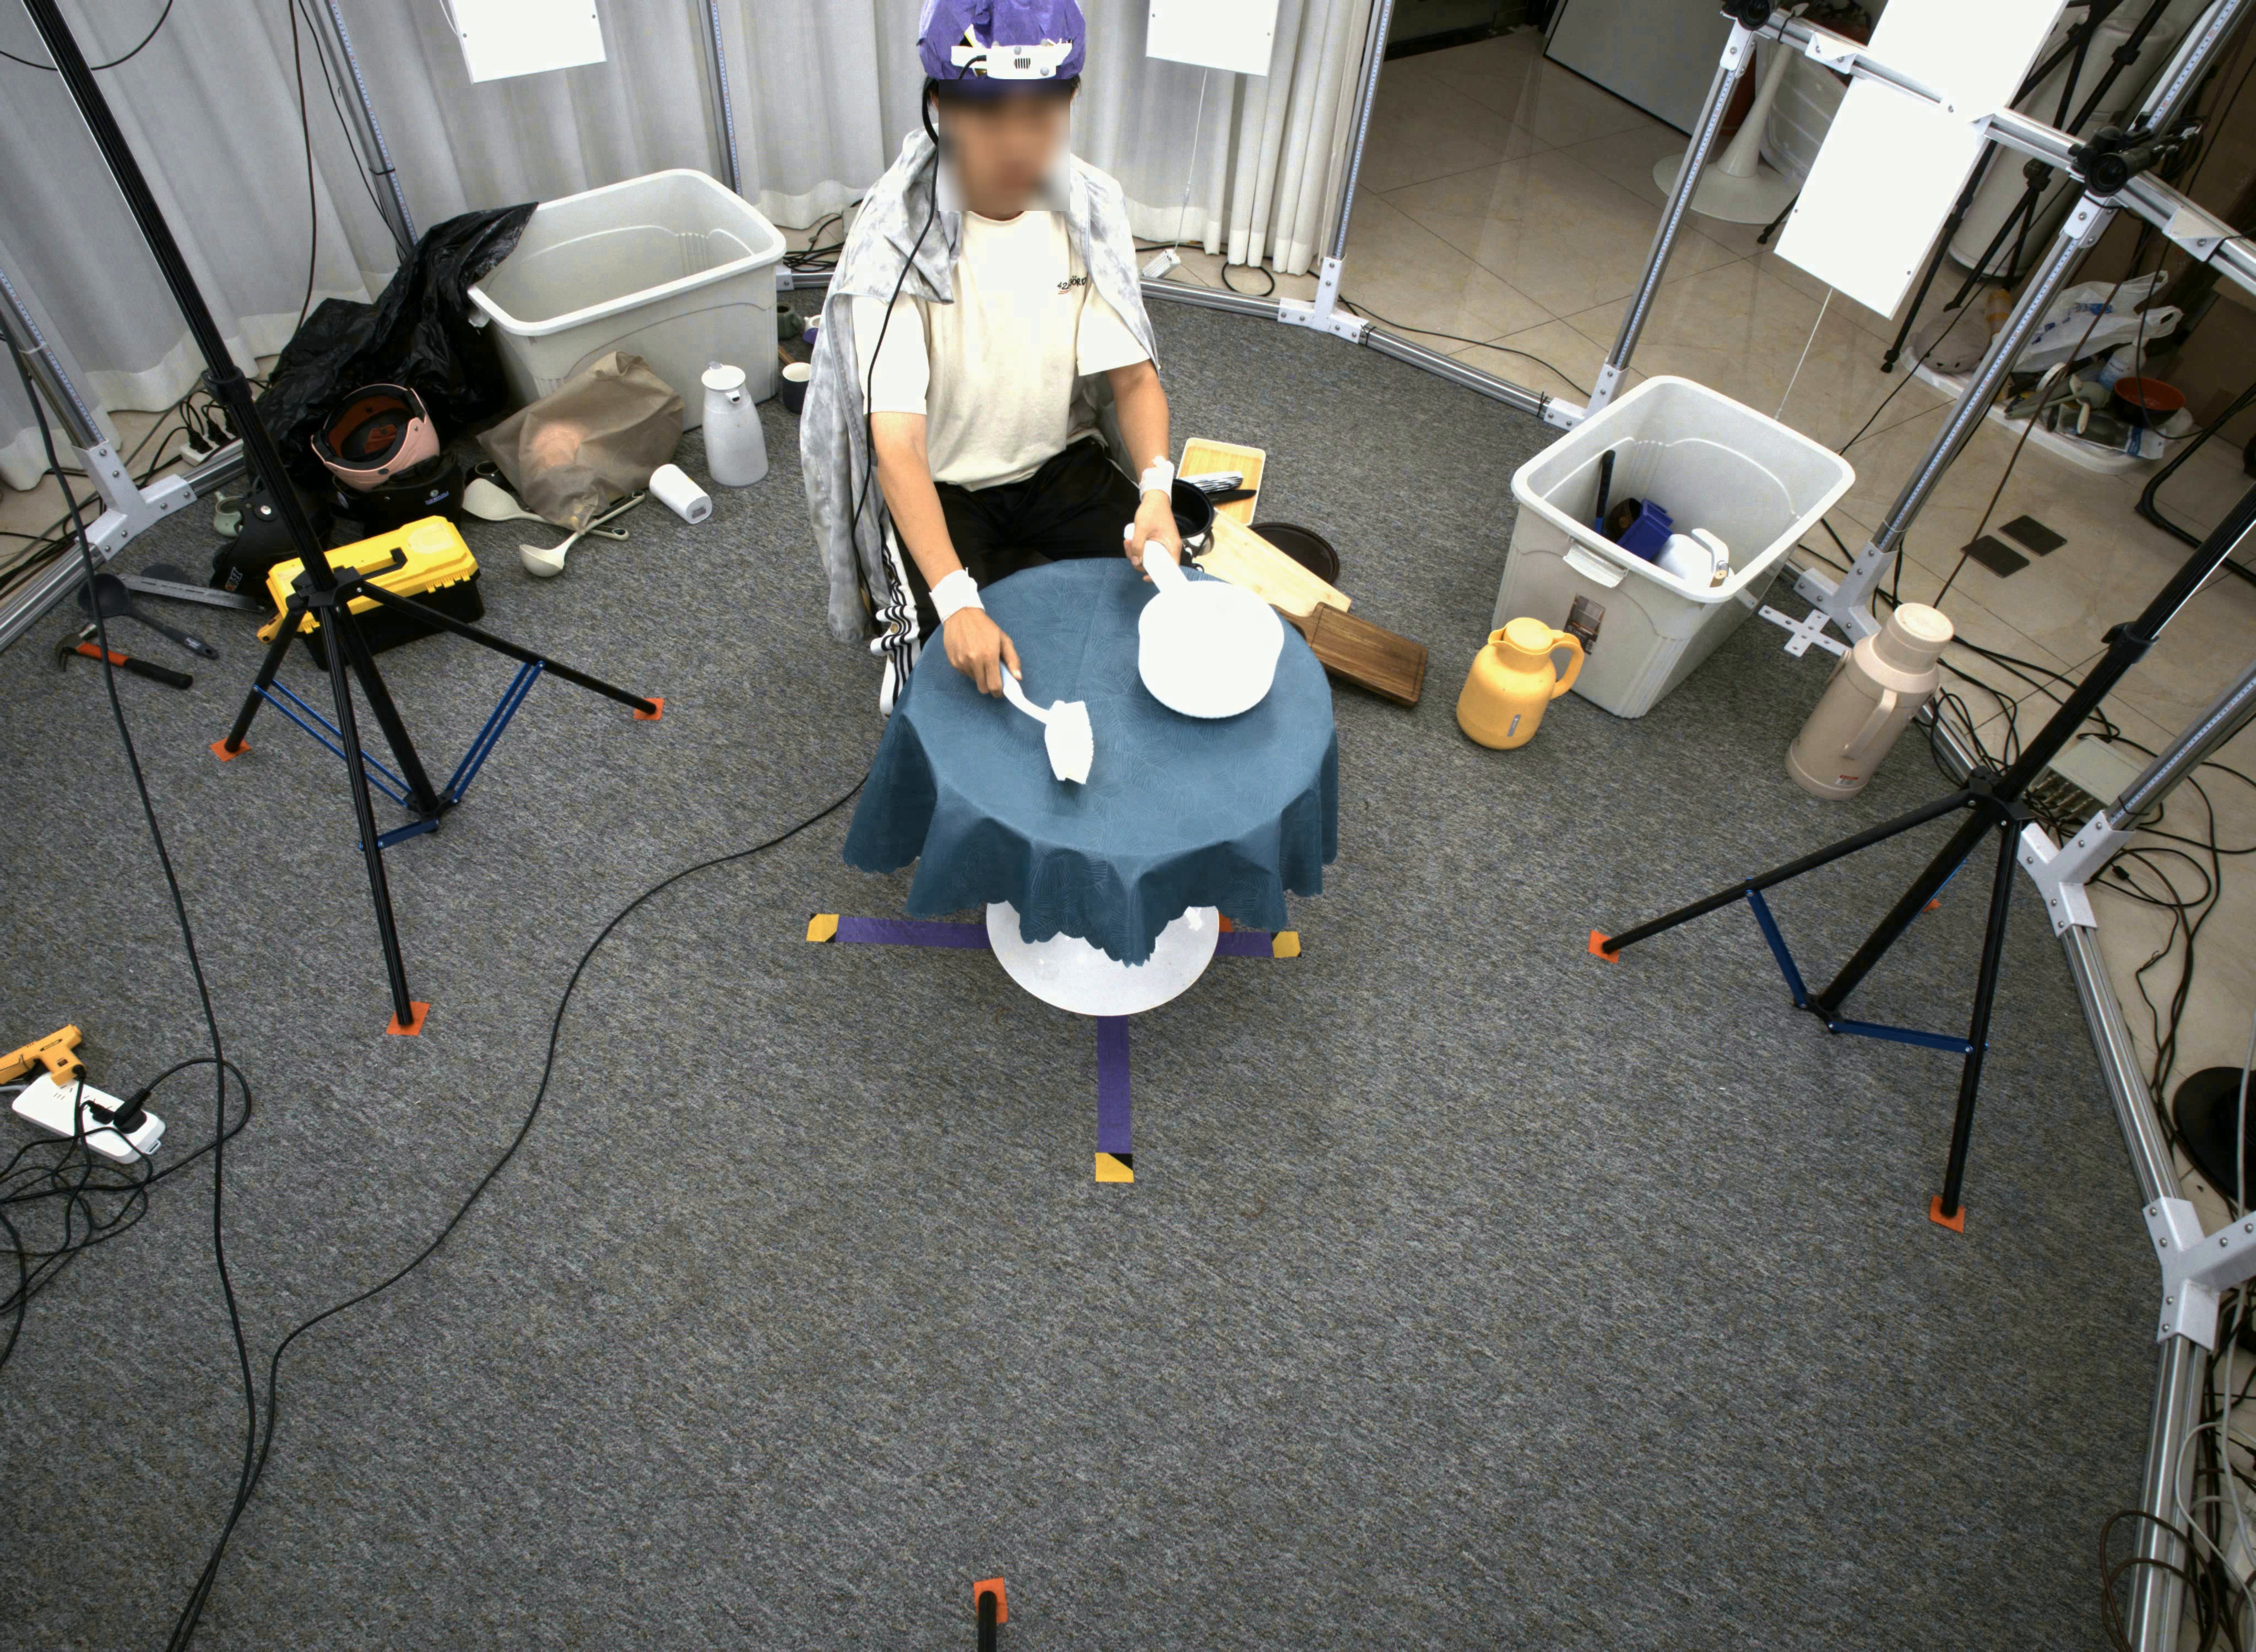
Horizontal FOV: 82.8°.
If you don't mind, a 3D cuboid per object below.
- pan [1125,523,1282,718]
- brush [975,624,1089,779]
[{"bbox_3d":[0.081,-0.298,1.864,0.201,0.099,0.363,-17,51,-17],"label":"pan"},{"bbox_3d":[-0.117,-0.181,1.767,0.083,0.083,0.333,-39,48,11],"label":"brush"}]
